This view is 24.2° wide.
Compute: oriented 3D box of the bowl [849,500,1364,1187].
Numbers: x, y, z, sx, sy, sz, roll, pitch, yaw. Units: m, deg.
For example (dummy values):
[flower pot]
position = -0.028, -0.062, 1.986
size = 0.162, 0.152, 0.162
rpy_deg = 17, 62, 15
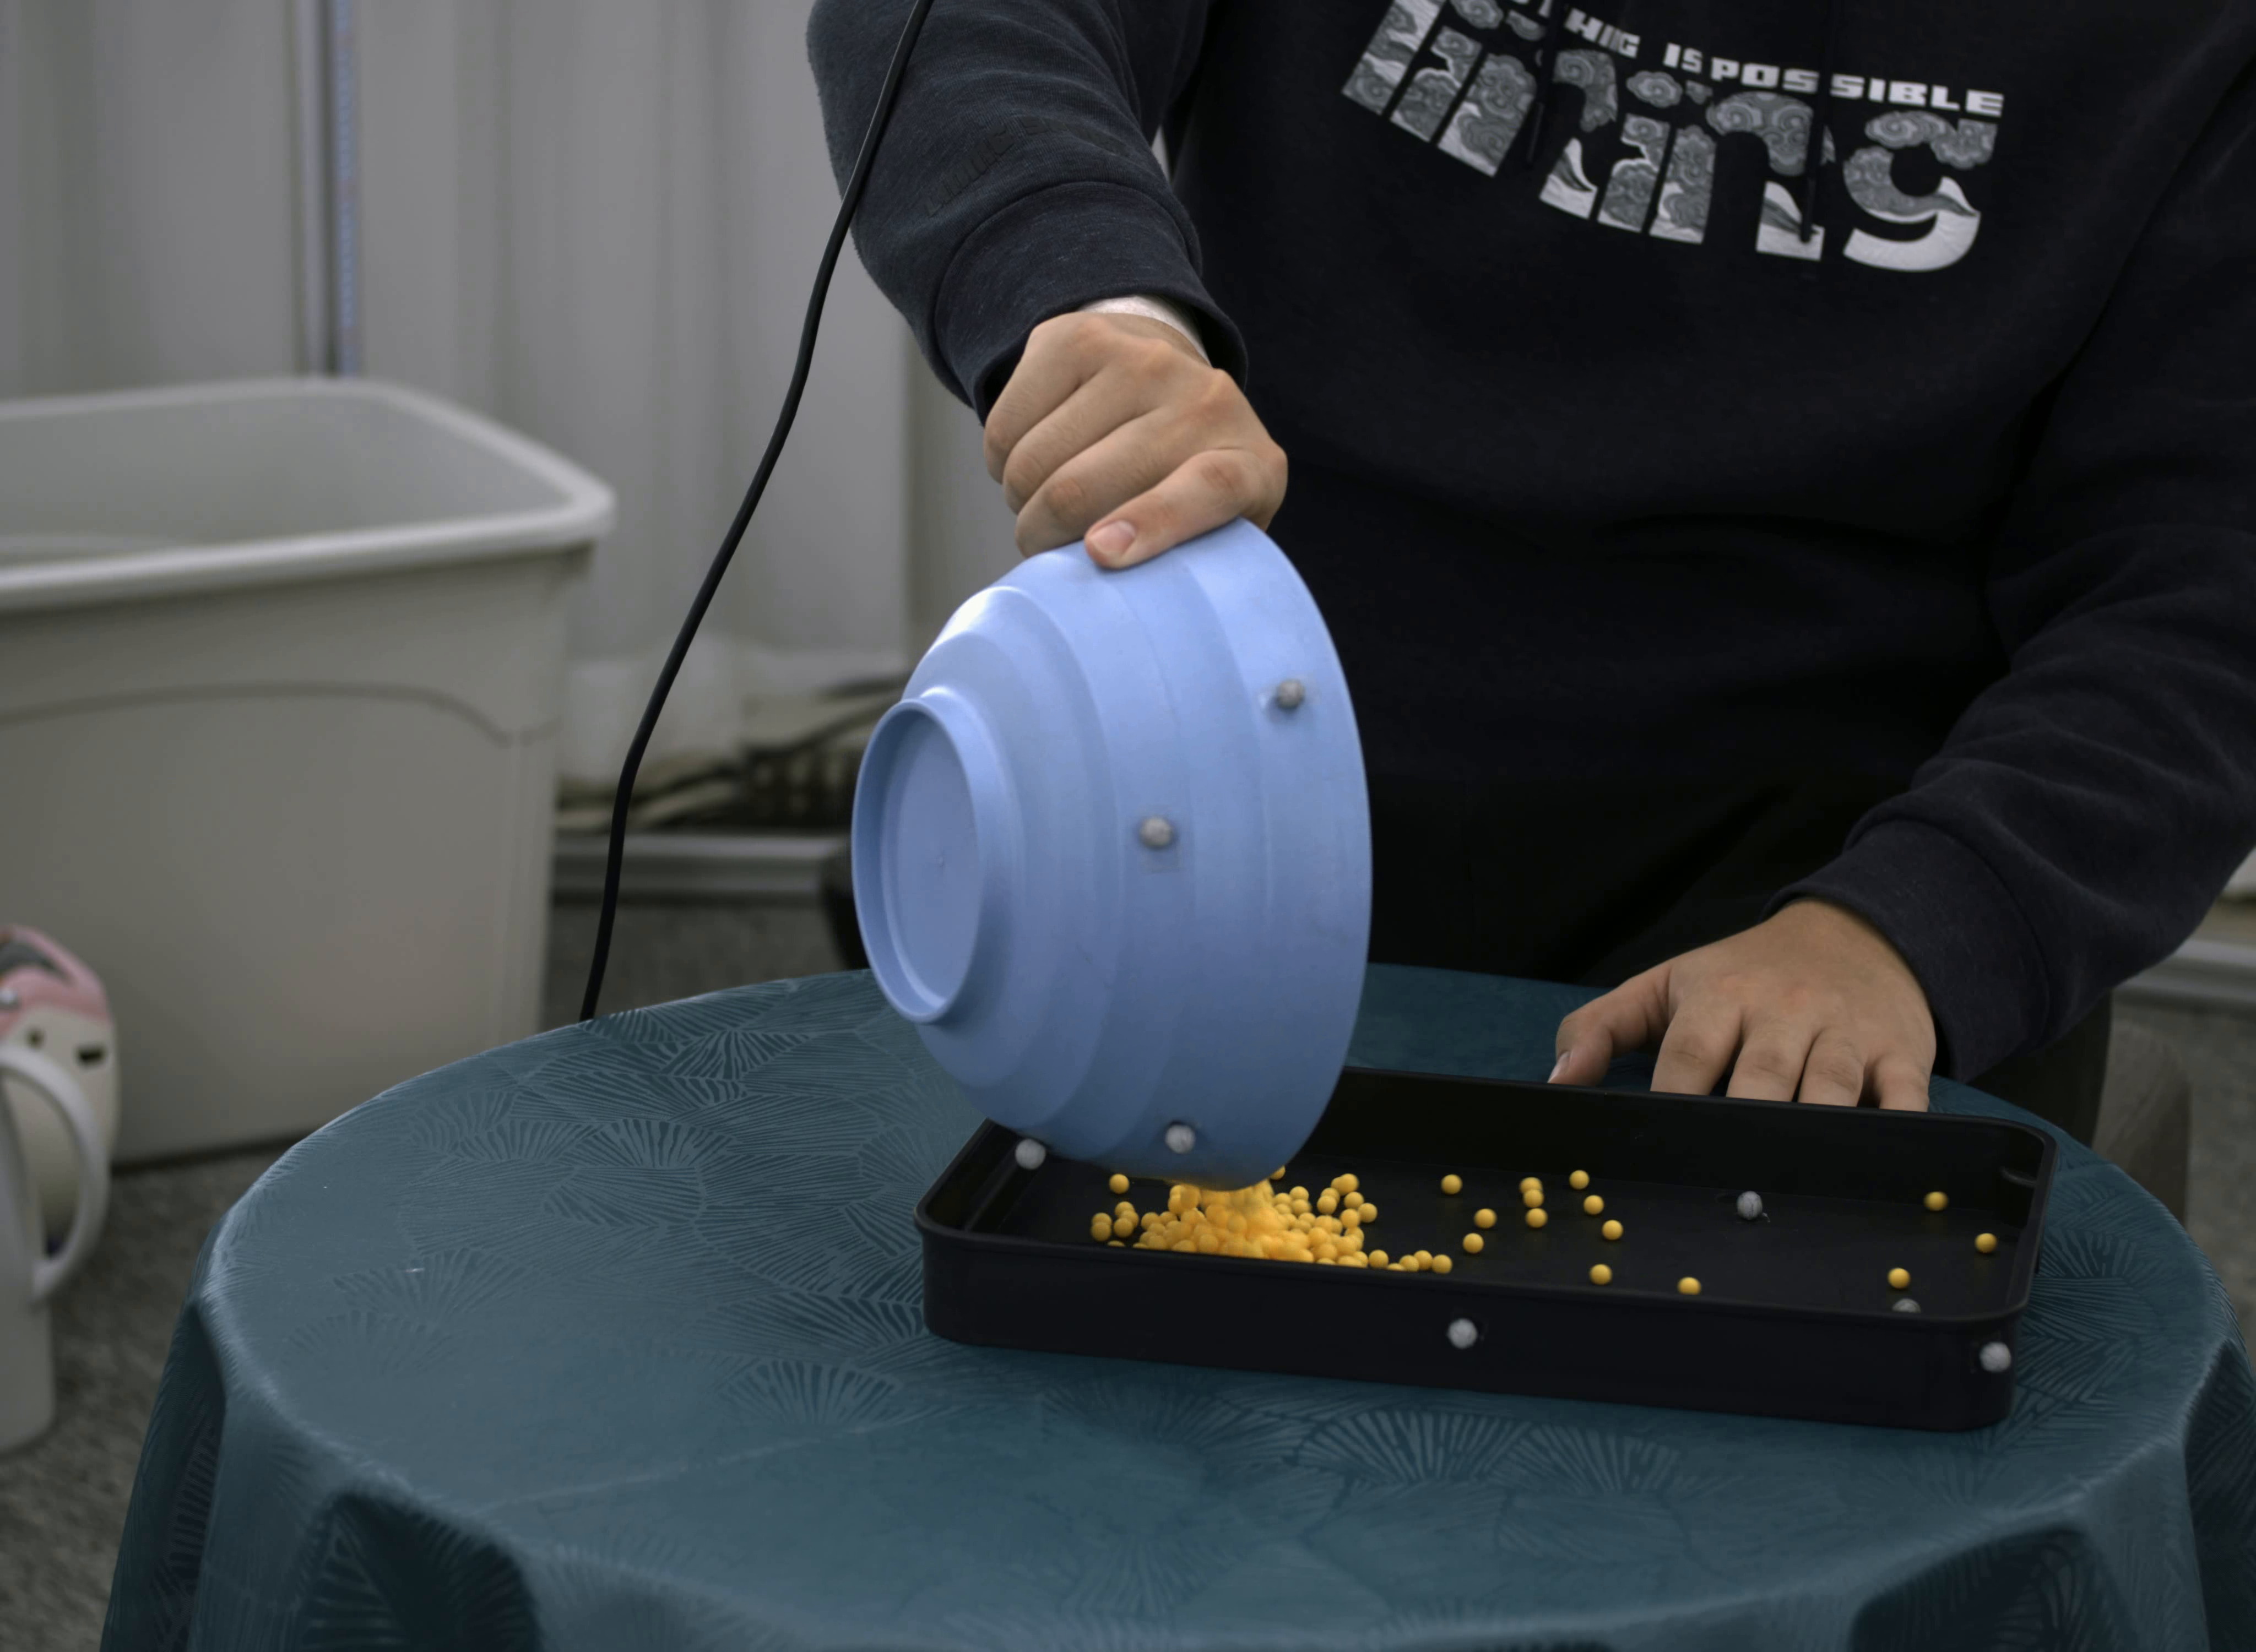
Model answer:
[bowl]
position = -0.019, 0.007, 1.488
size = 0.096, 0.198, 0.194
rpy_deg = -3, 16, -25

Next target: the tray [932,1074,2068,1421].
[tray]
position = 0.113, 0.119, 1.547
size = 0.316, 0.037, 0.184
rpy_deg = 2, 15, 10
